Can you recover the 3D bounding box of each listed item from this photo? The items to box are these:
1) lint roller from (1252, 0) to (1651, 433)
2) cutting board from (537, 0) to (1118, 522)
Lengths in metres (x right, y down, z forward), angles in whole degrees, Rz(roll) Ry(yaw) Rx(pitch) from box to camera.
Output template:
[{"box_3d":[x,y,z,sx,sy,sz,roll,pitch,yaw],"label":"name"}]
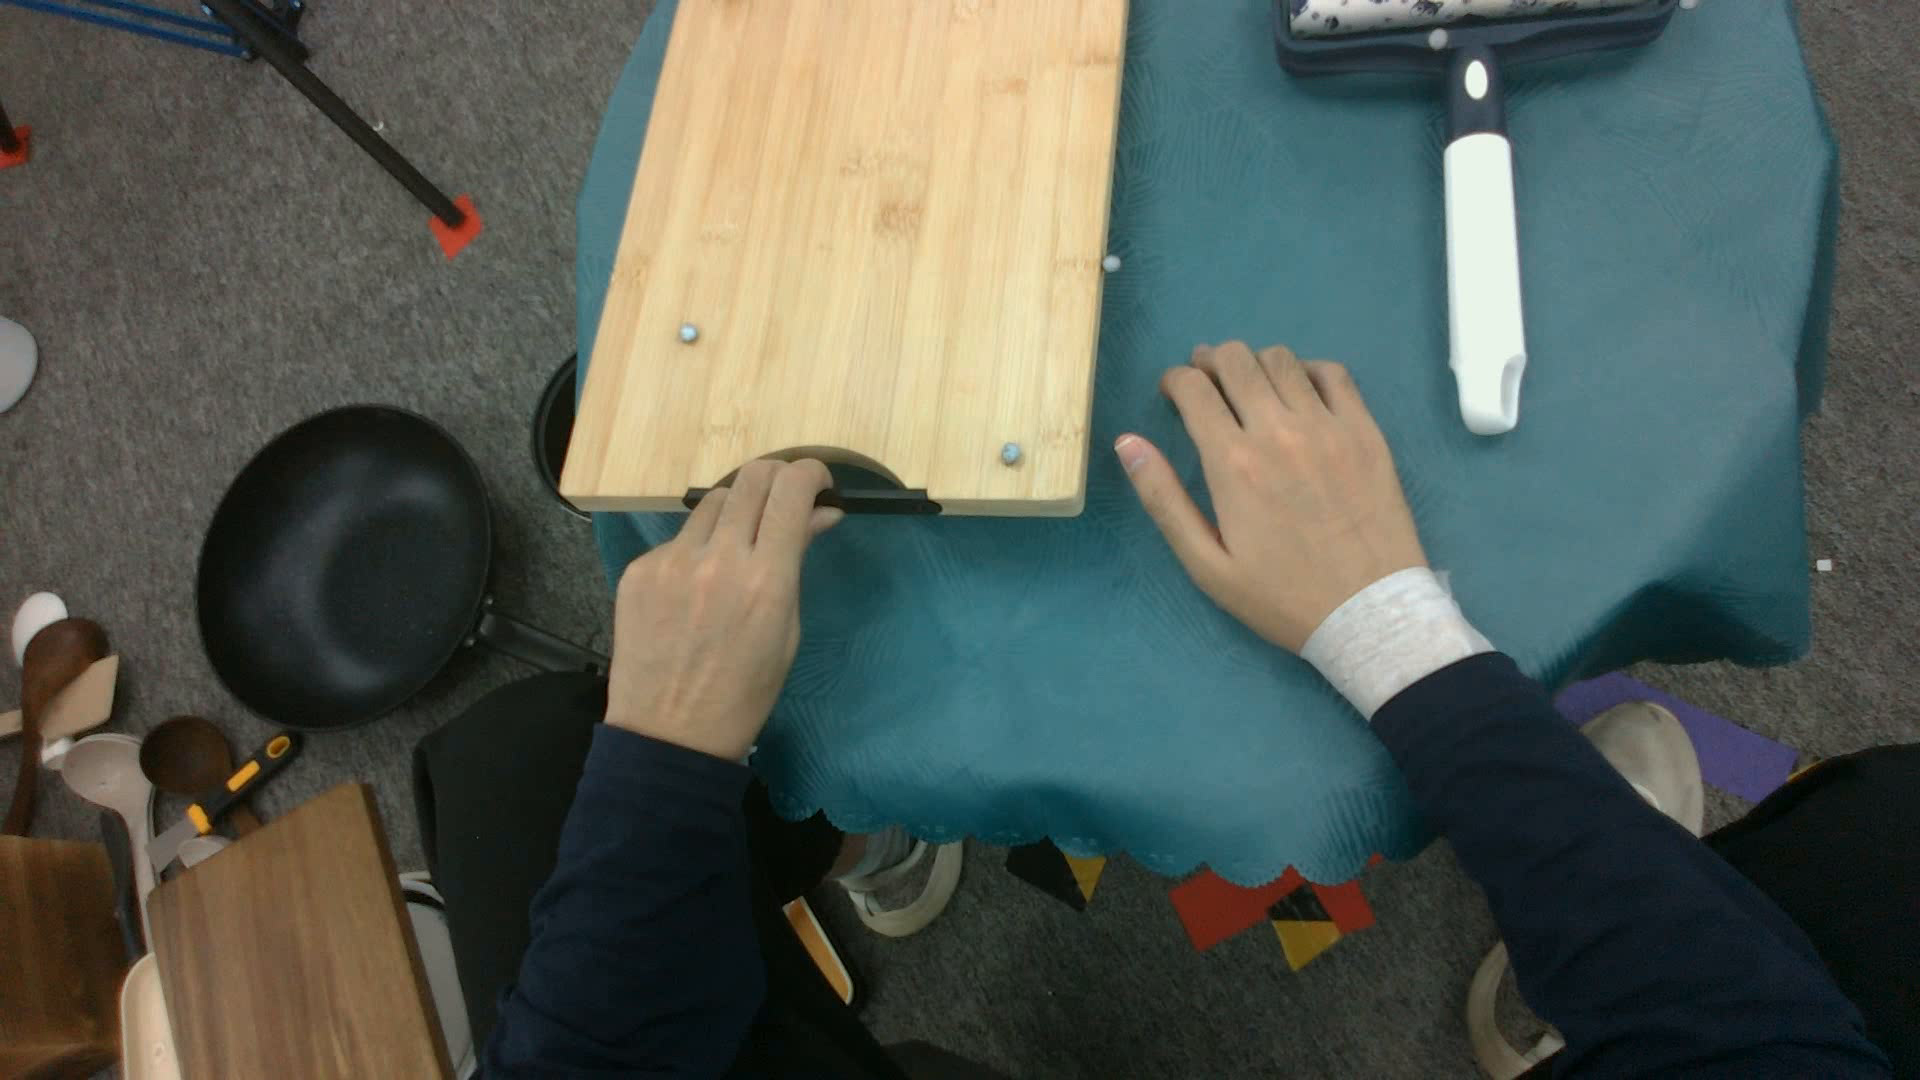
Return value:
[{"box_3d":[0.225,-0.171,0.617,0.176,0.050,0.247,-2,76,11],"label":"lint roller"},{"box_3d":[-0.053,-0.170,0.669,0.250,0.023,0.350,0,66,13],"label":"cutting board"}]
